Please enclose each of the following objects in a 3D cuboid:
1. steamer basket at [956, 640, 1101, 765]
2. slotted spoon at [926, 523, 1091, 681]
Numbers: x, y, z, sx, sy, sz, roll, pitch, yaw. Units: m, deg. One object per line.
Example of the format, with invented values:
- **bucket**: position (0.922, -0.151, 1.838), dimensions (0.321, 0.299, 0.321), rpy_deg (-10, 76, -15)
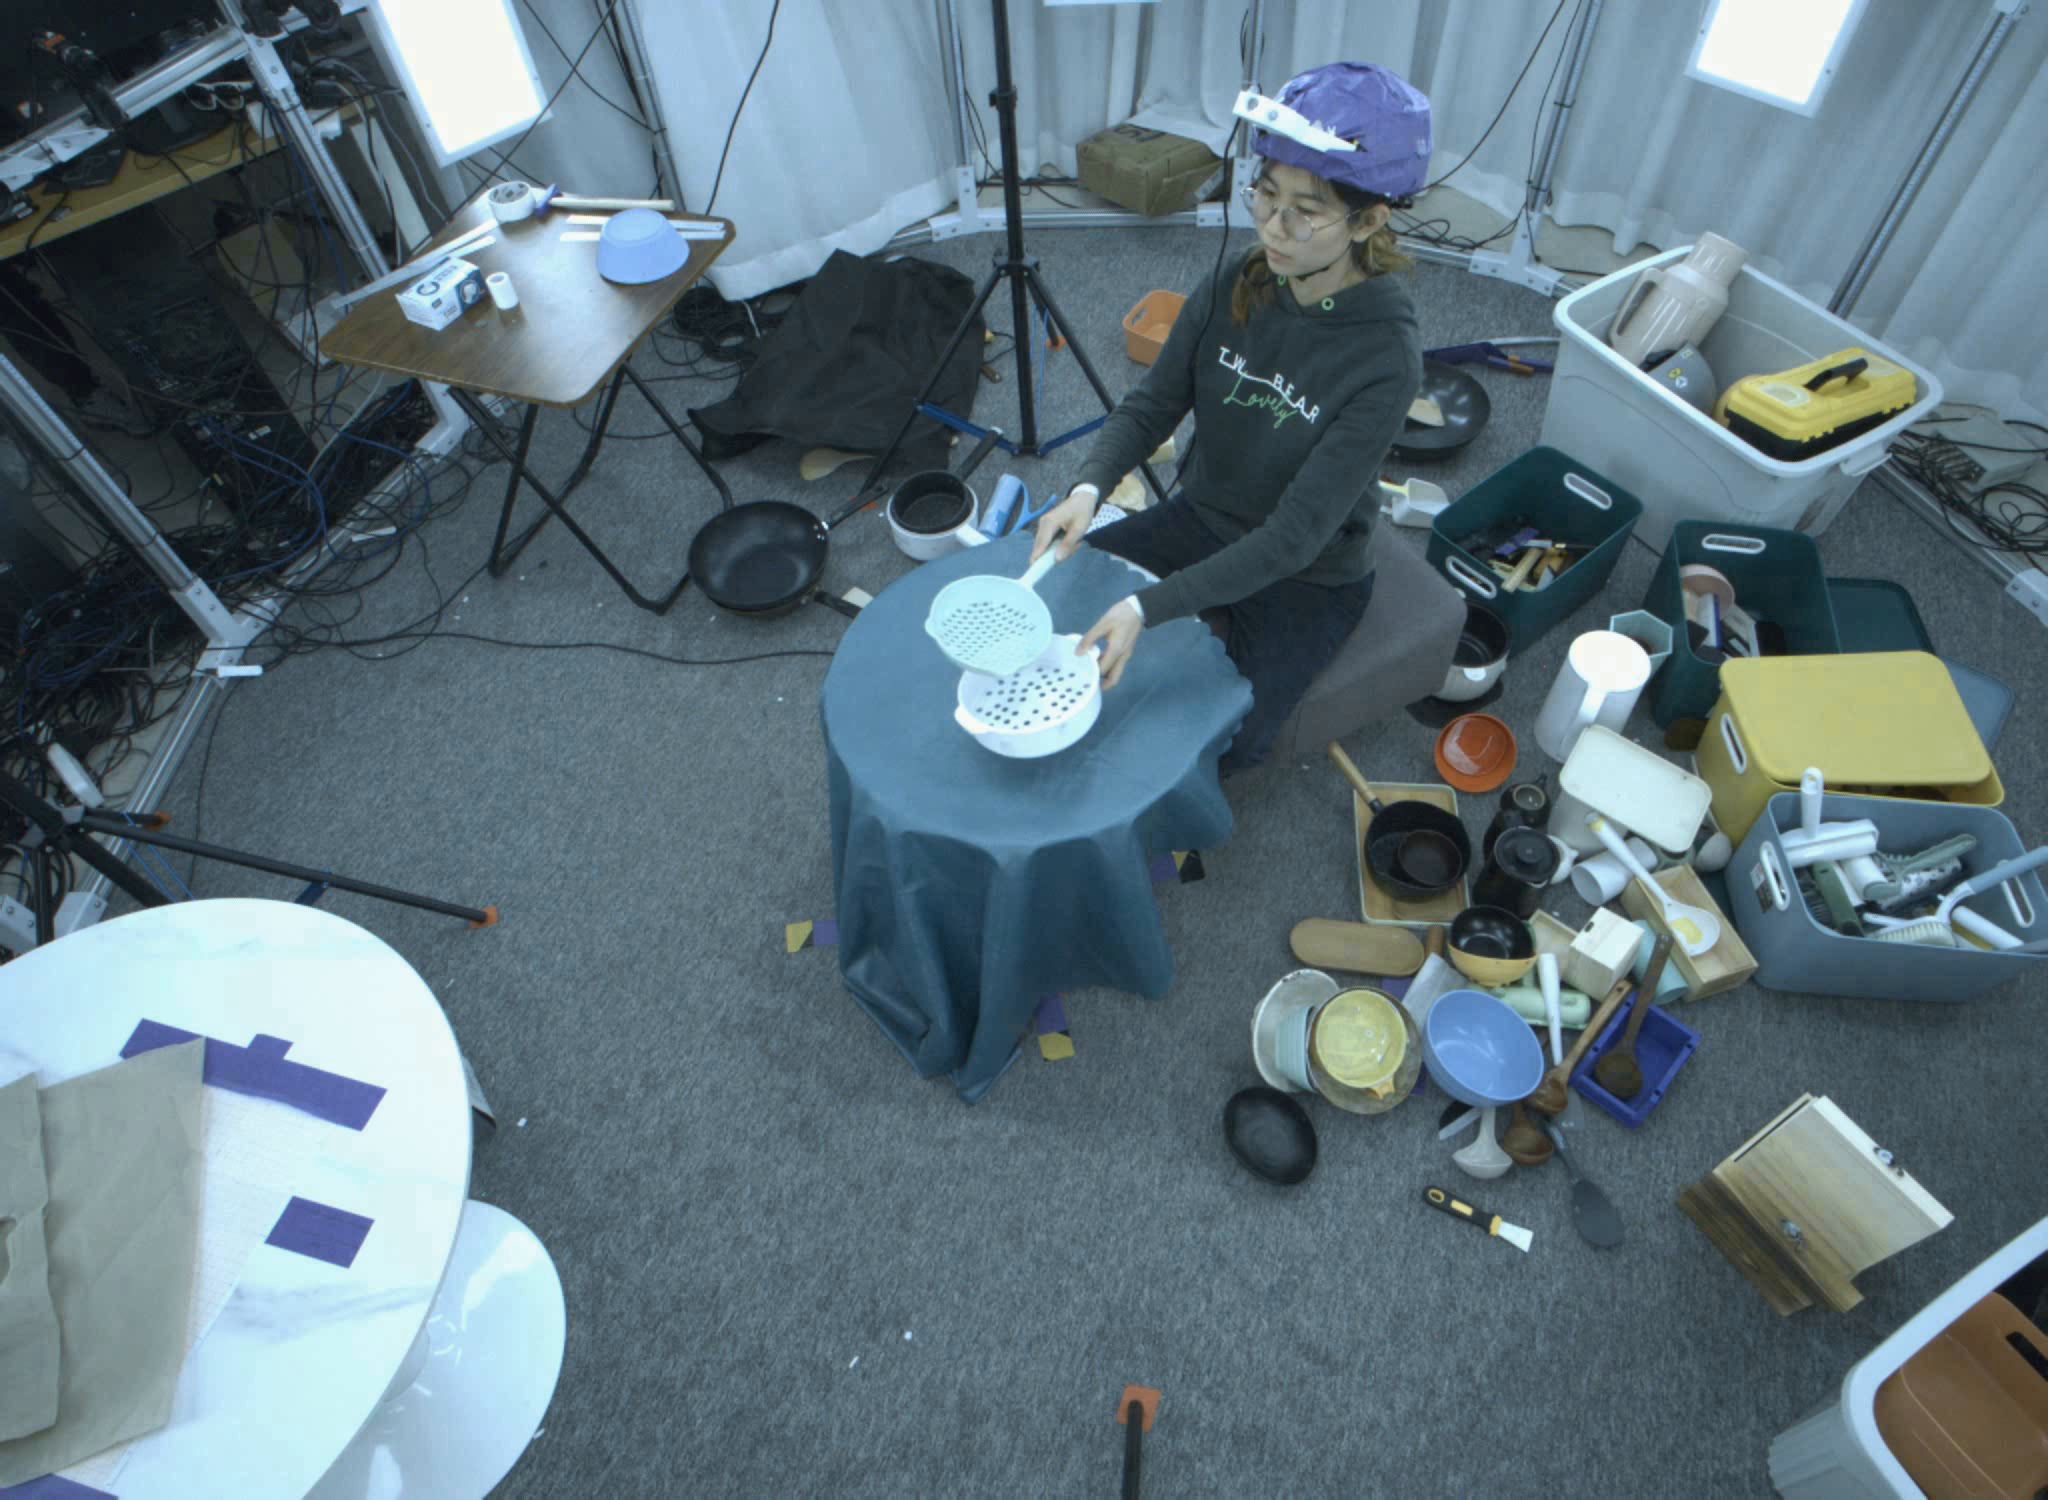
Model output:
- **steamer basket**: position (0.011, -0.066, 1.752), dimensions (0.232, 0.070, 0.197), rpy_deg (-36, 52, -20)
- **slotted spoon**: position (0.004, -0.228, 1.751), dimensions (0.168, 0.075, 0.360), rpy_deg (32, 64, 8)
